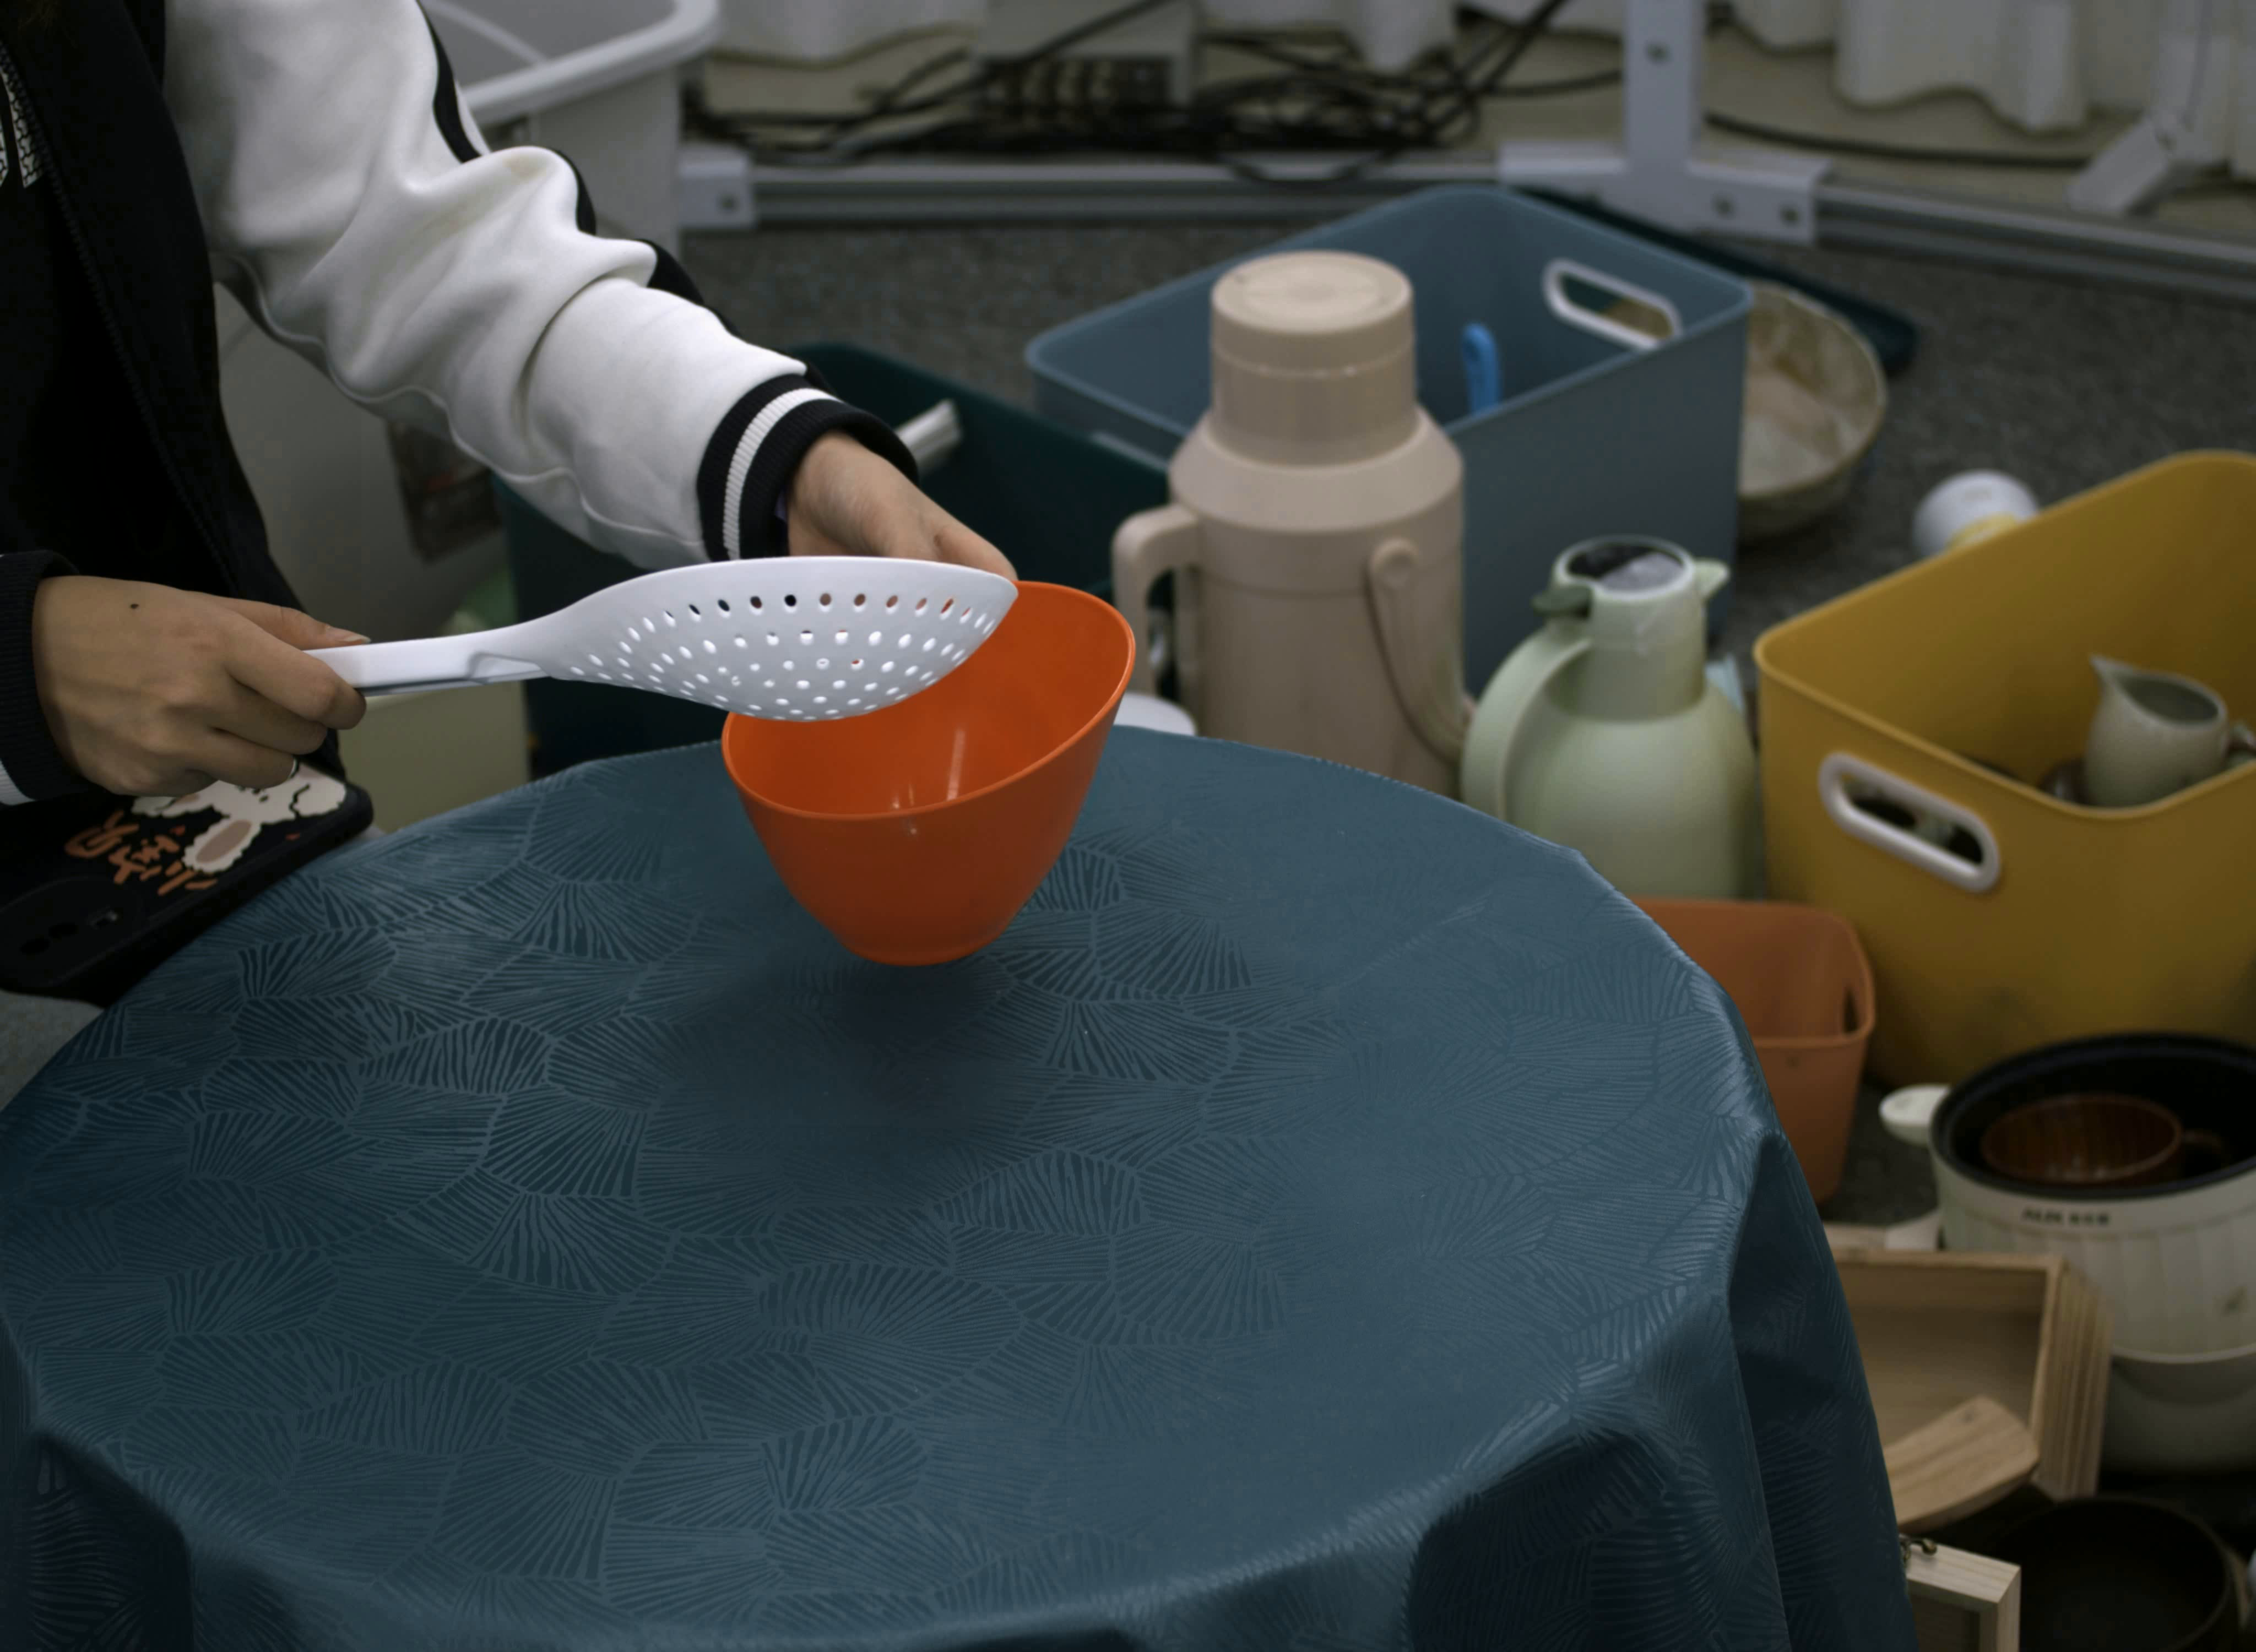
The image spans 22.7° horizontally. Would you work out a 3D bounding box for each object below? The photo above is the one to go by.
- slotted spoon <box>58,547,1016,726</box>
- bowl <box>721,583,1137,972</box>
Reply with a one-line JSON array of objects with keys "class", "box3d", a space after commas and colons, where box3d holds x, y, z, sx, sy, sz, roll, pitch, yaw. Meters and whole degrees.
[{"class": "slotted spoon", "box3d": [-0.202, -0.058, 1.861, 0.346, 0.046, 0.136, -1, -8, 23]}, {"class": "bowl", "box3d": [-0.065, -0.009, 1.960, 0.147, 0.103, 0.150, -4, 34, 3]}]
